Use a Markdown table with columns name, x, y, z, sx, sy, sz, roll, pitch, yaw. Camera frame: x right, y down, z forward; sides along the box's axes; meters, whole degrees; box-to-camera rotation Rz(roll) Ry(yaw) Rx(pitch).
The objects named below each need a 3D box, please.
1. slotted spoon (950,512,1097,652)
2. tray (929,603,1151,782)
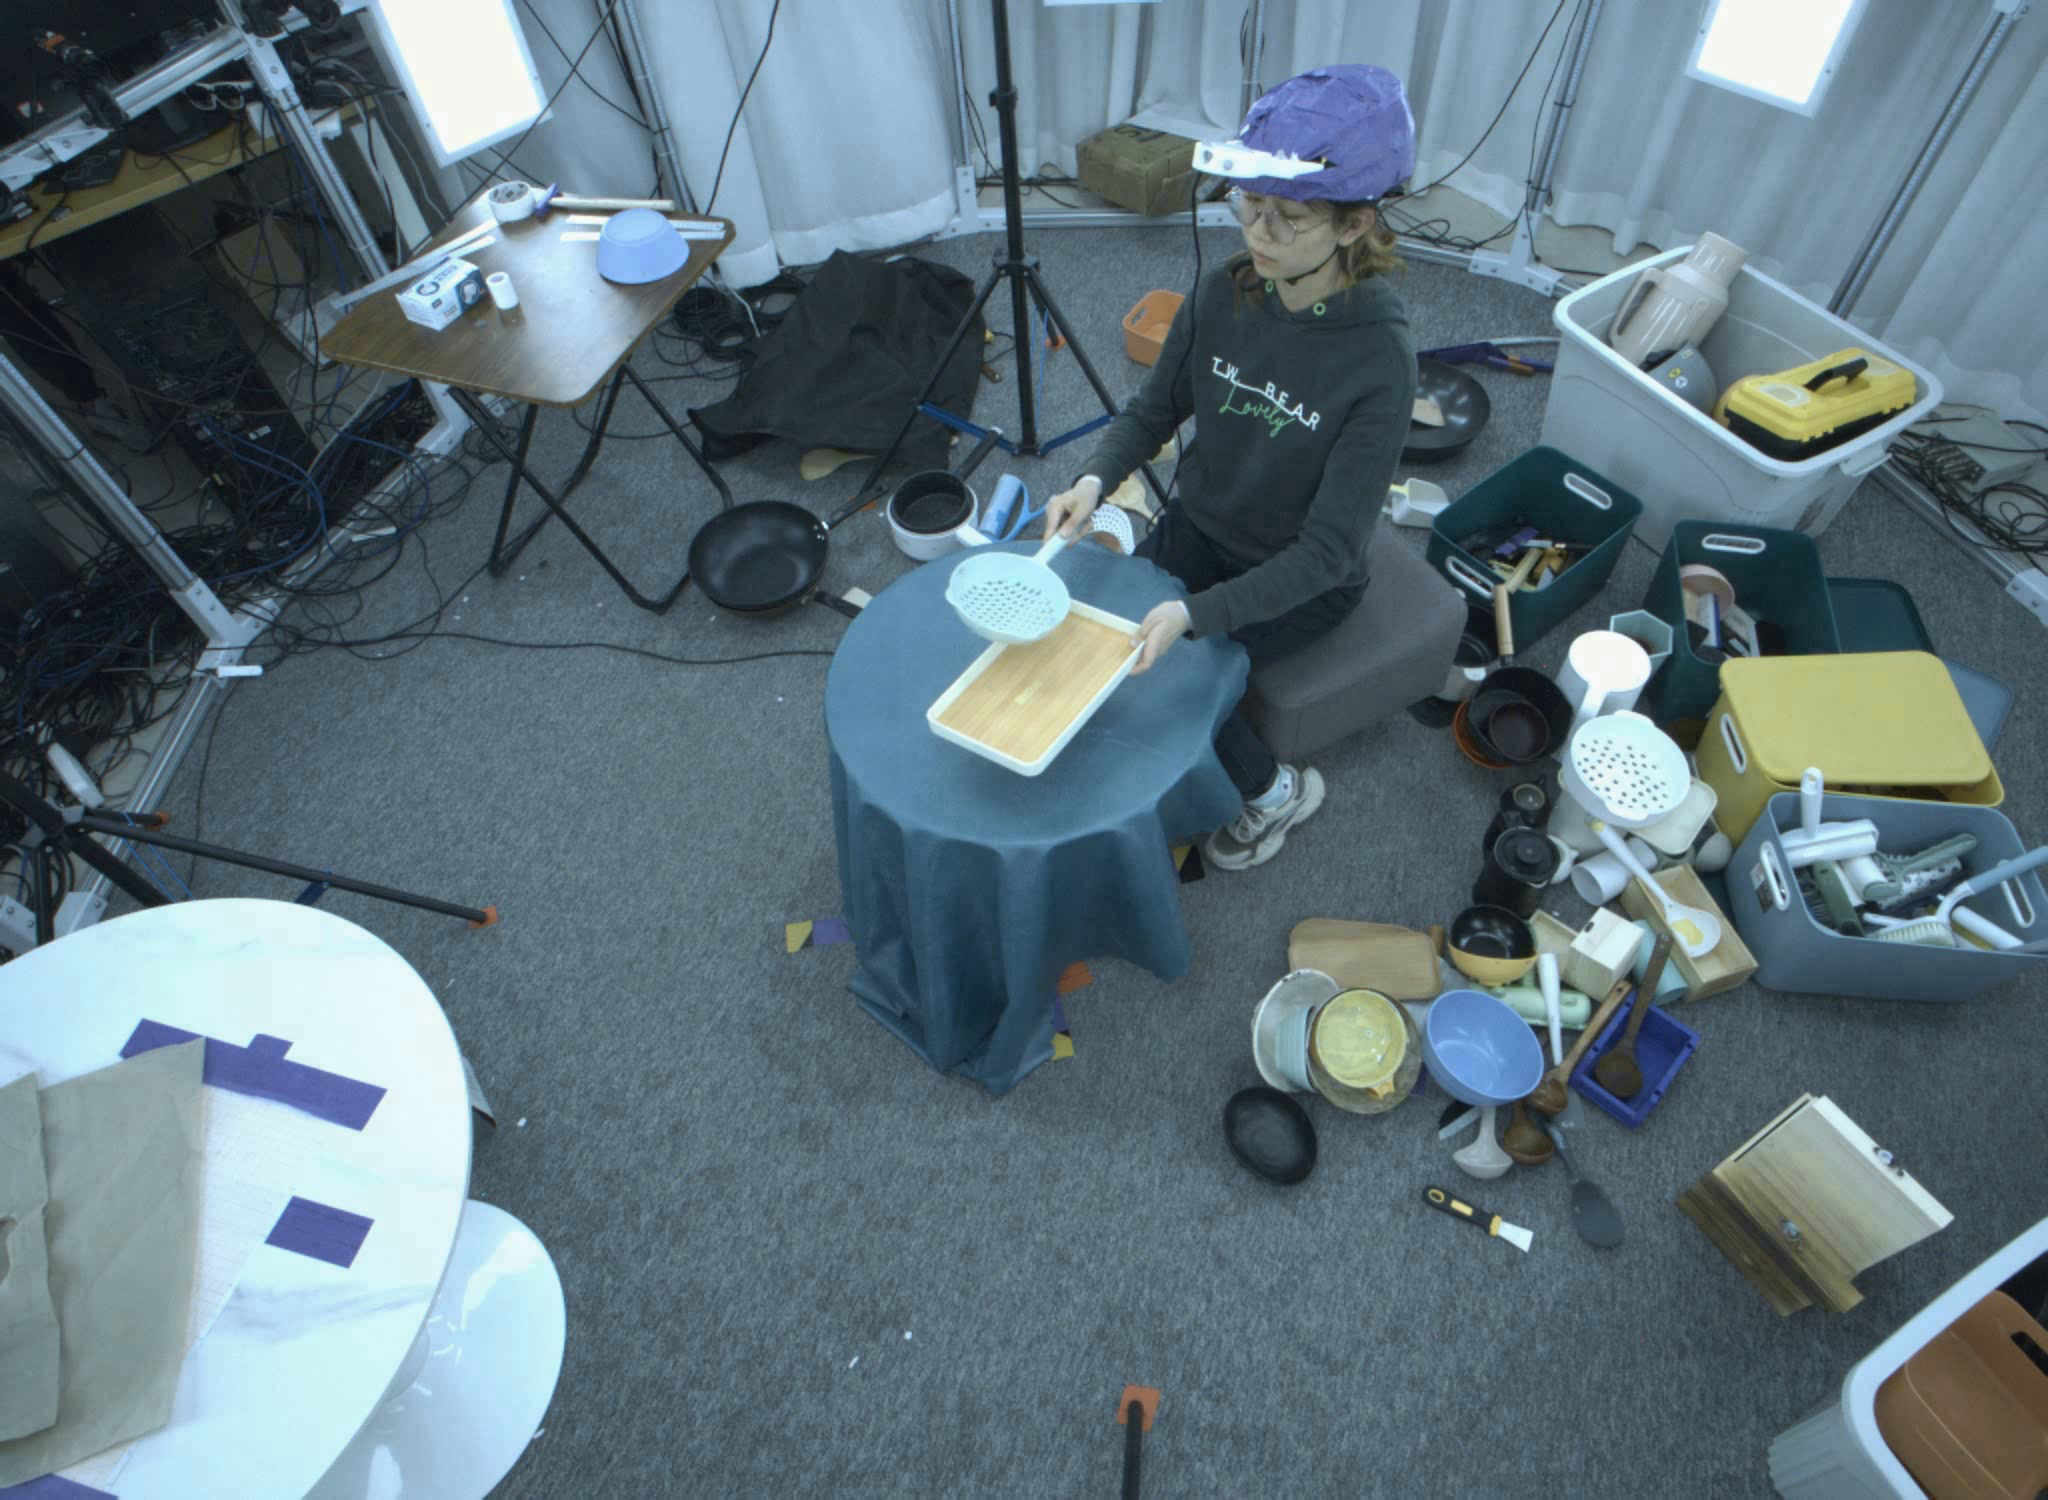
| name | x | y | z | sx | sy | sz | roll | pitch | yaw |
| --- | --- | --- | --- | --- | --- | --- | --- | --- | --- |
| slotted spoon | 0.027 | -0.262 | 1.778 | 0.168 | 0.075 | 0.360 | 29 | 56 | 7 |
| tray | 0.026 | -0.093 | 1.724 | 0.188 | 0.028 | 0.302 | 26 | 57 | 26 |
